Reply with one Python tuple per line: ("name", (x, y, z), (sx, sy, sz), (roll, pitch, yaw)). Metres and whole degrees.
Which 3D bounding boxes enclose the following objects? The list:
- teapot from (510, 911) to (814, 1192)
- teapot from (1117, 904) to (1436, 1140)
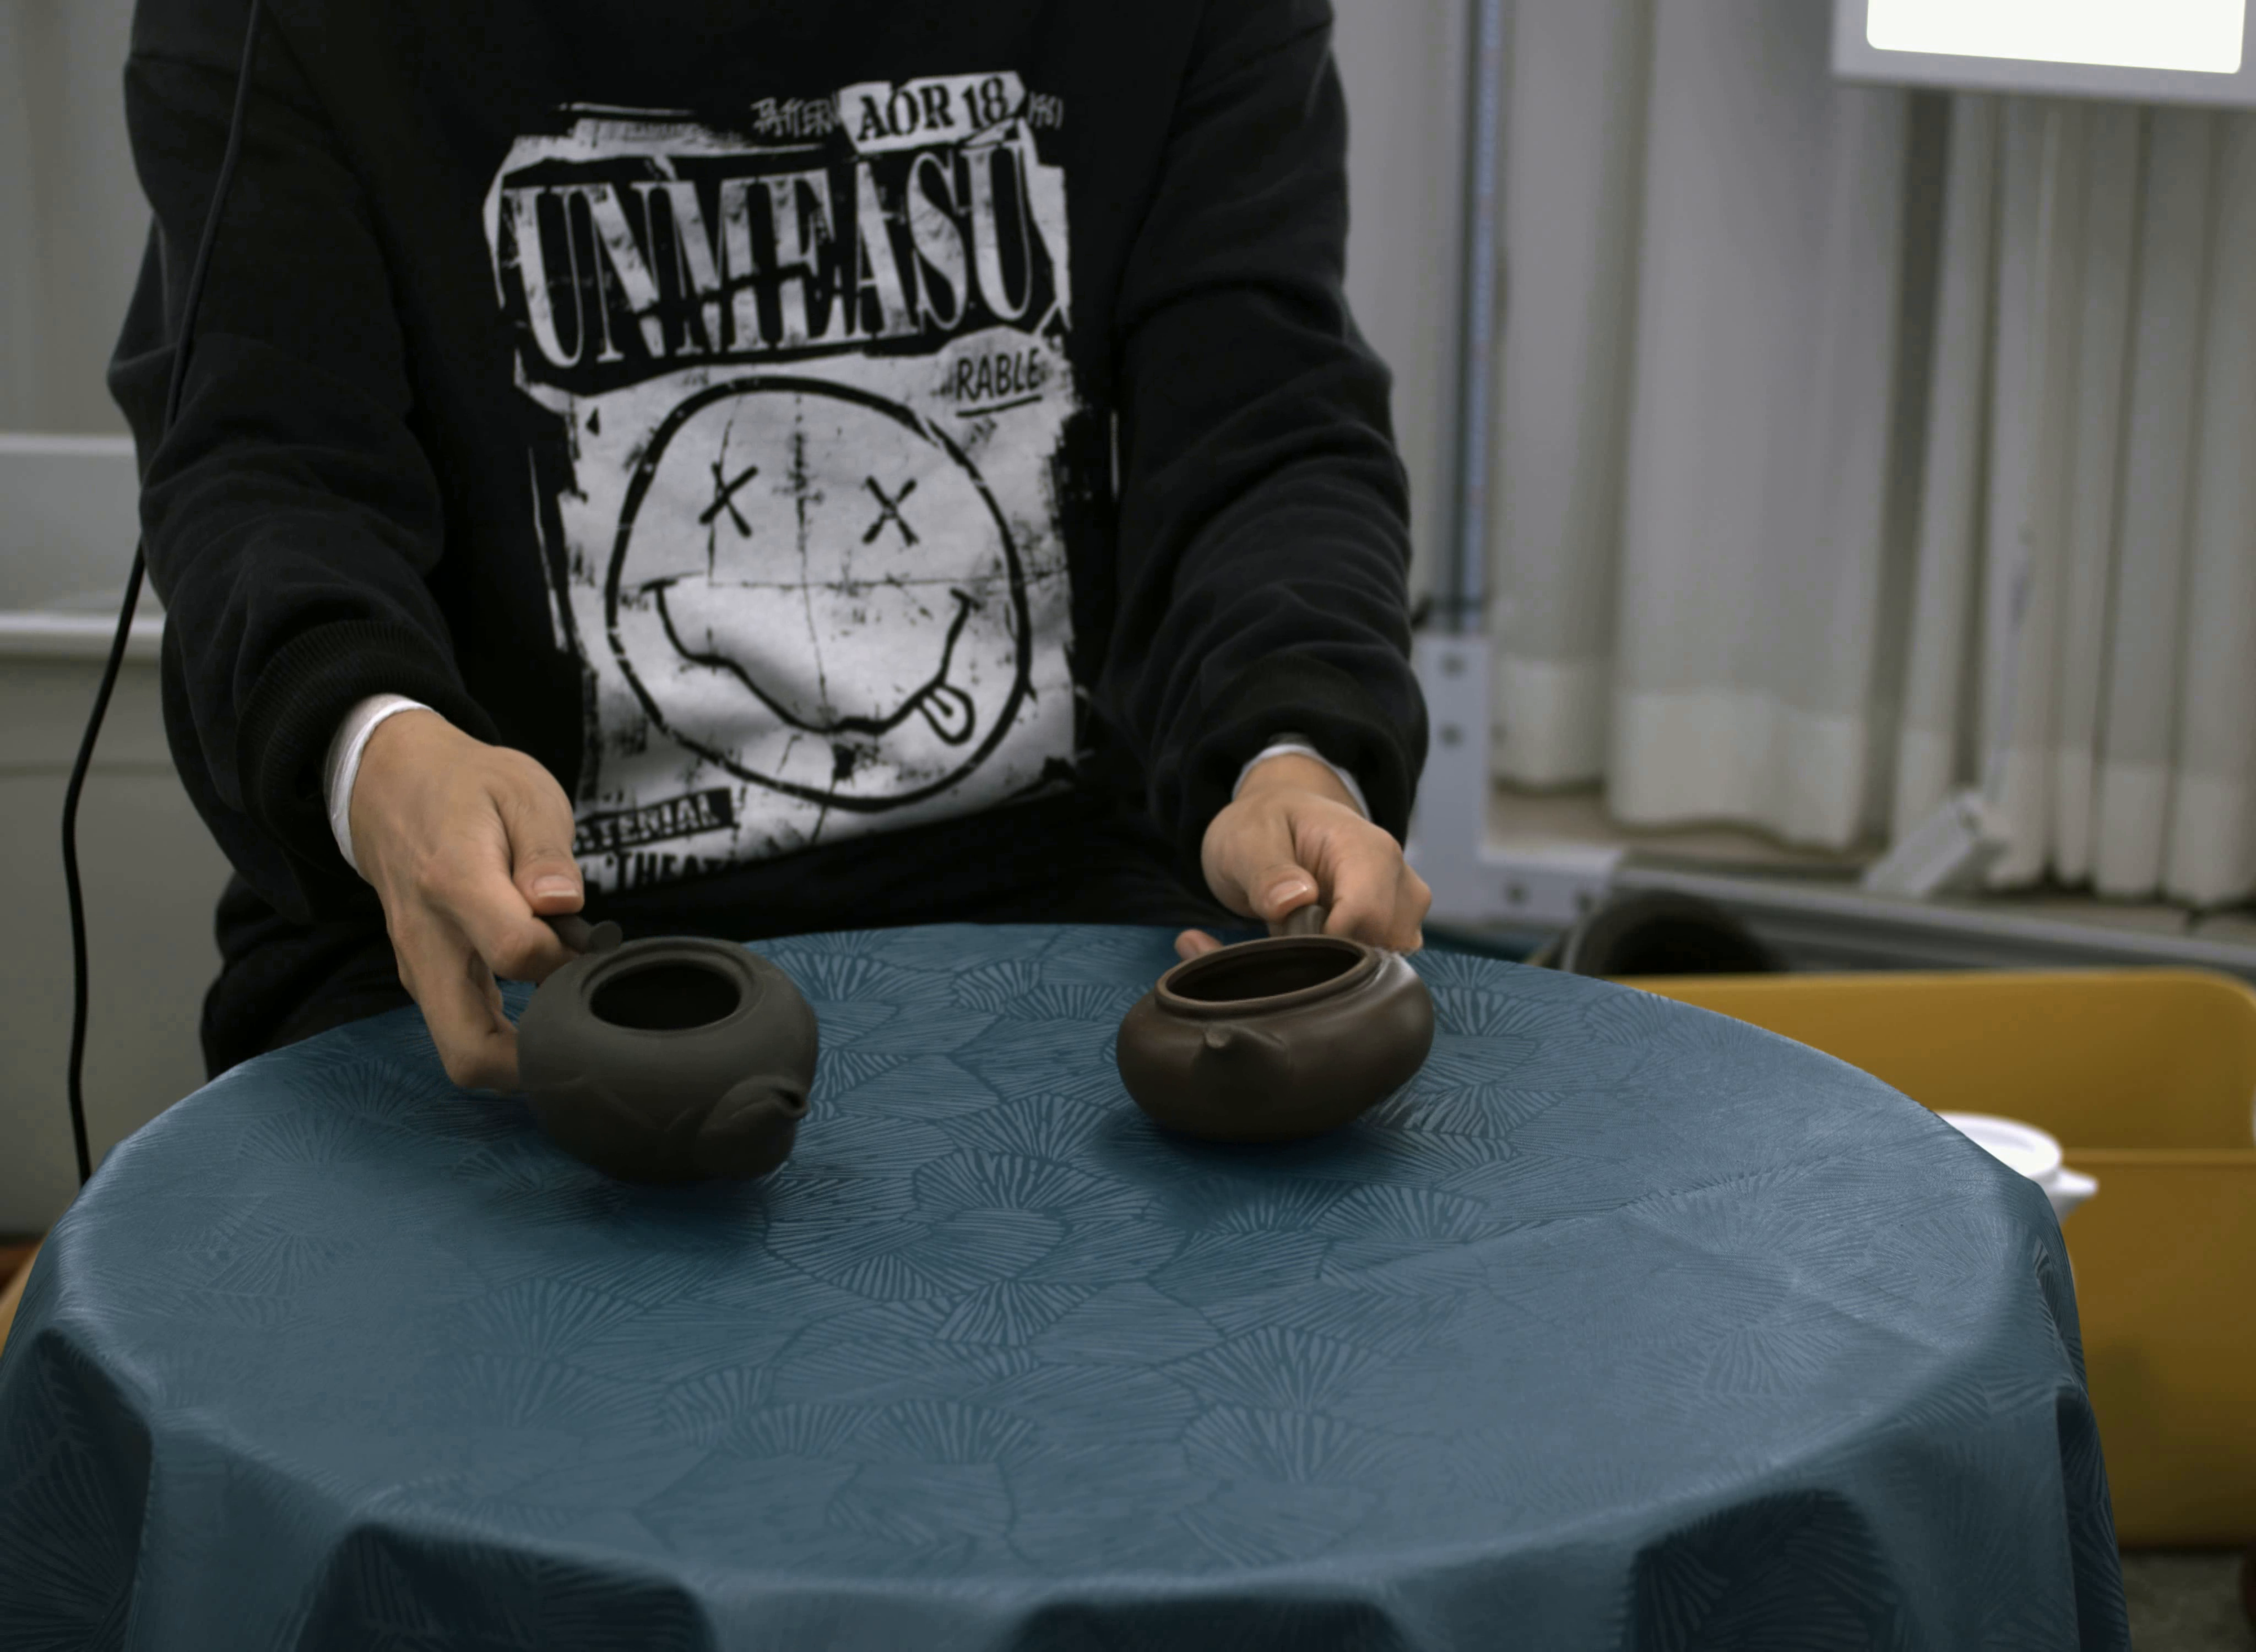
("teapot", (-0.144, 0.072, 1.616), (0.092, 0.065, 0.152), (-16, 33, -31))
("teapot", (0.048, 0.064, 1.681), (0.102, 0.054, 0.153), (-5, 16, 8))
